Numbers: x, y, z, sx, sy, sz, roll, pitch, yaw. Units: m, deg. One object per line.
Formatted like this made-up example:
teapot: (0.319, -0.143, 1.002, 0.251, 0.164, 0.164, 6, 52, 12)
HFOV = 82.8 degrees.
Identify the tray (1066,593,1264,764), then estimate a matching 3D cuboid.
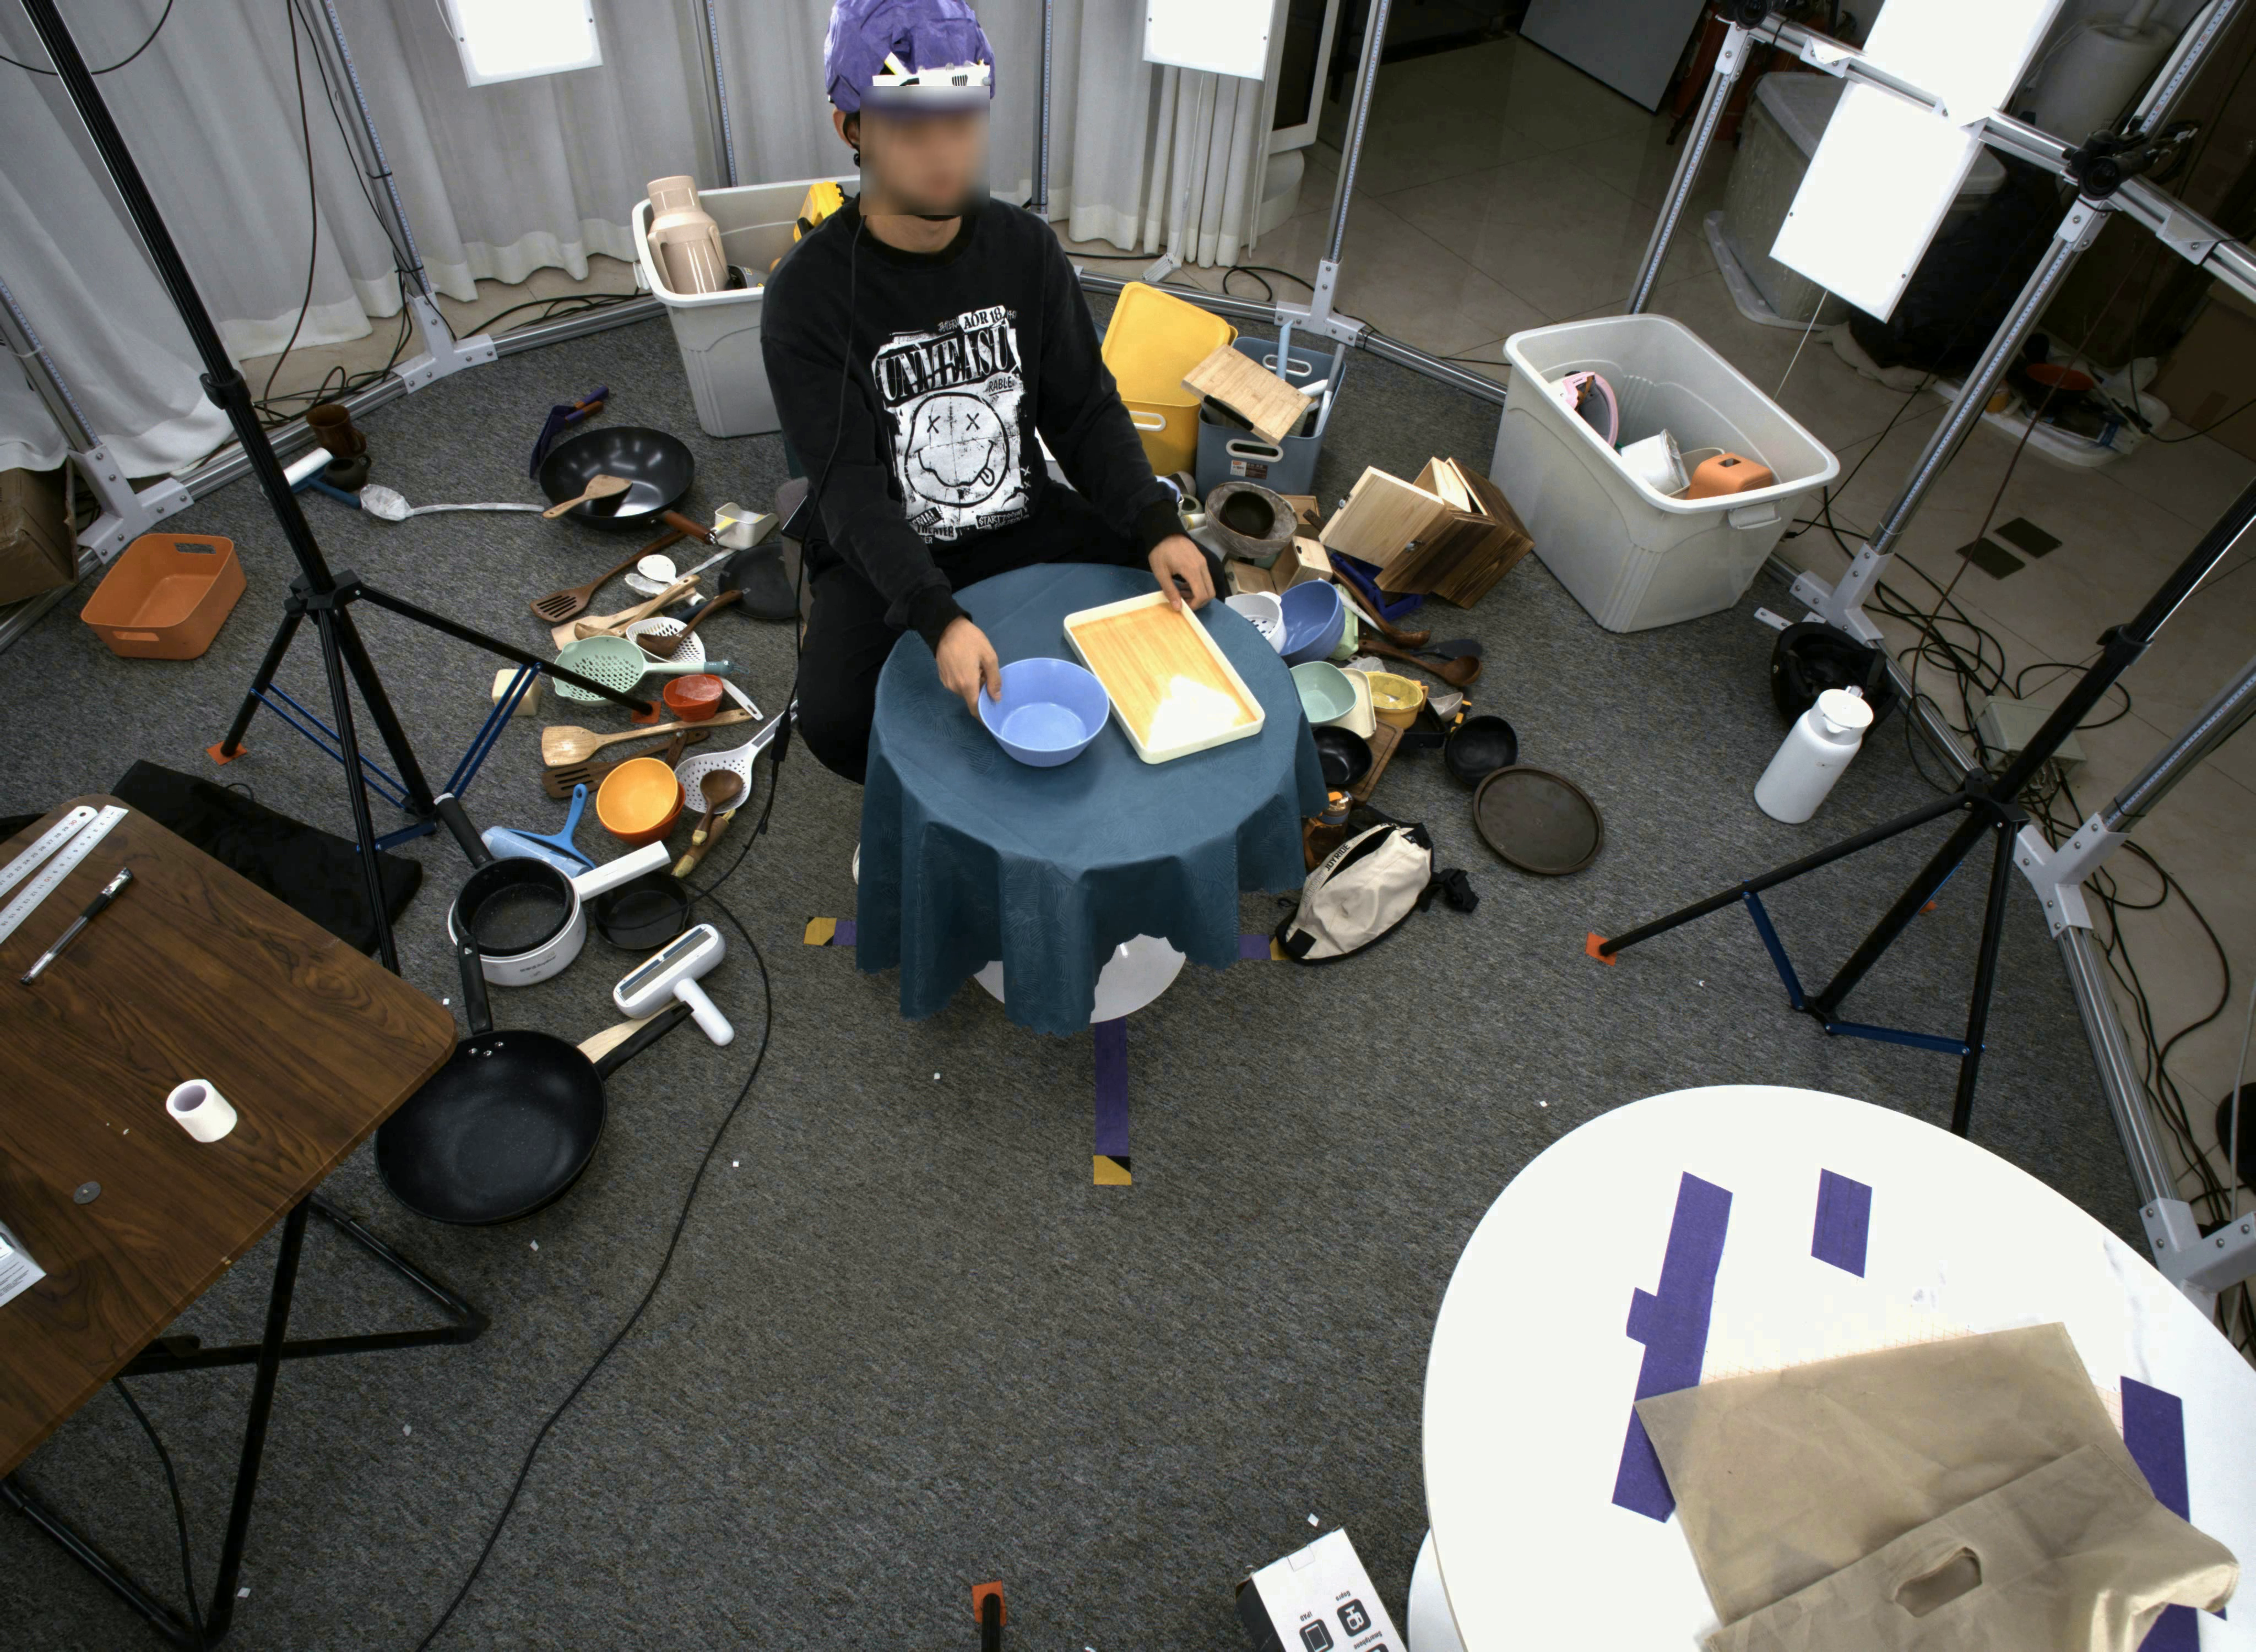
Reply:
tray: (0.049, -0.220, 1.862, 0.192, 0.027, 0.307, -17, 52, -18)

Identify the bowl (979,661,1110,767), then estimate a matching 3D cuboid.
bowl: (-0.115, -0.144, 1.755, 0.176, 0.068, 0.180, 3, 49, -3)
